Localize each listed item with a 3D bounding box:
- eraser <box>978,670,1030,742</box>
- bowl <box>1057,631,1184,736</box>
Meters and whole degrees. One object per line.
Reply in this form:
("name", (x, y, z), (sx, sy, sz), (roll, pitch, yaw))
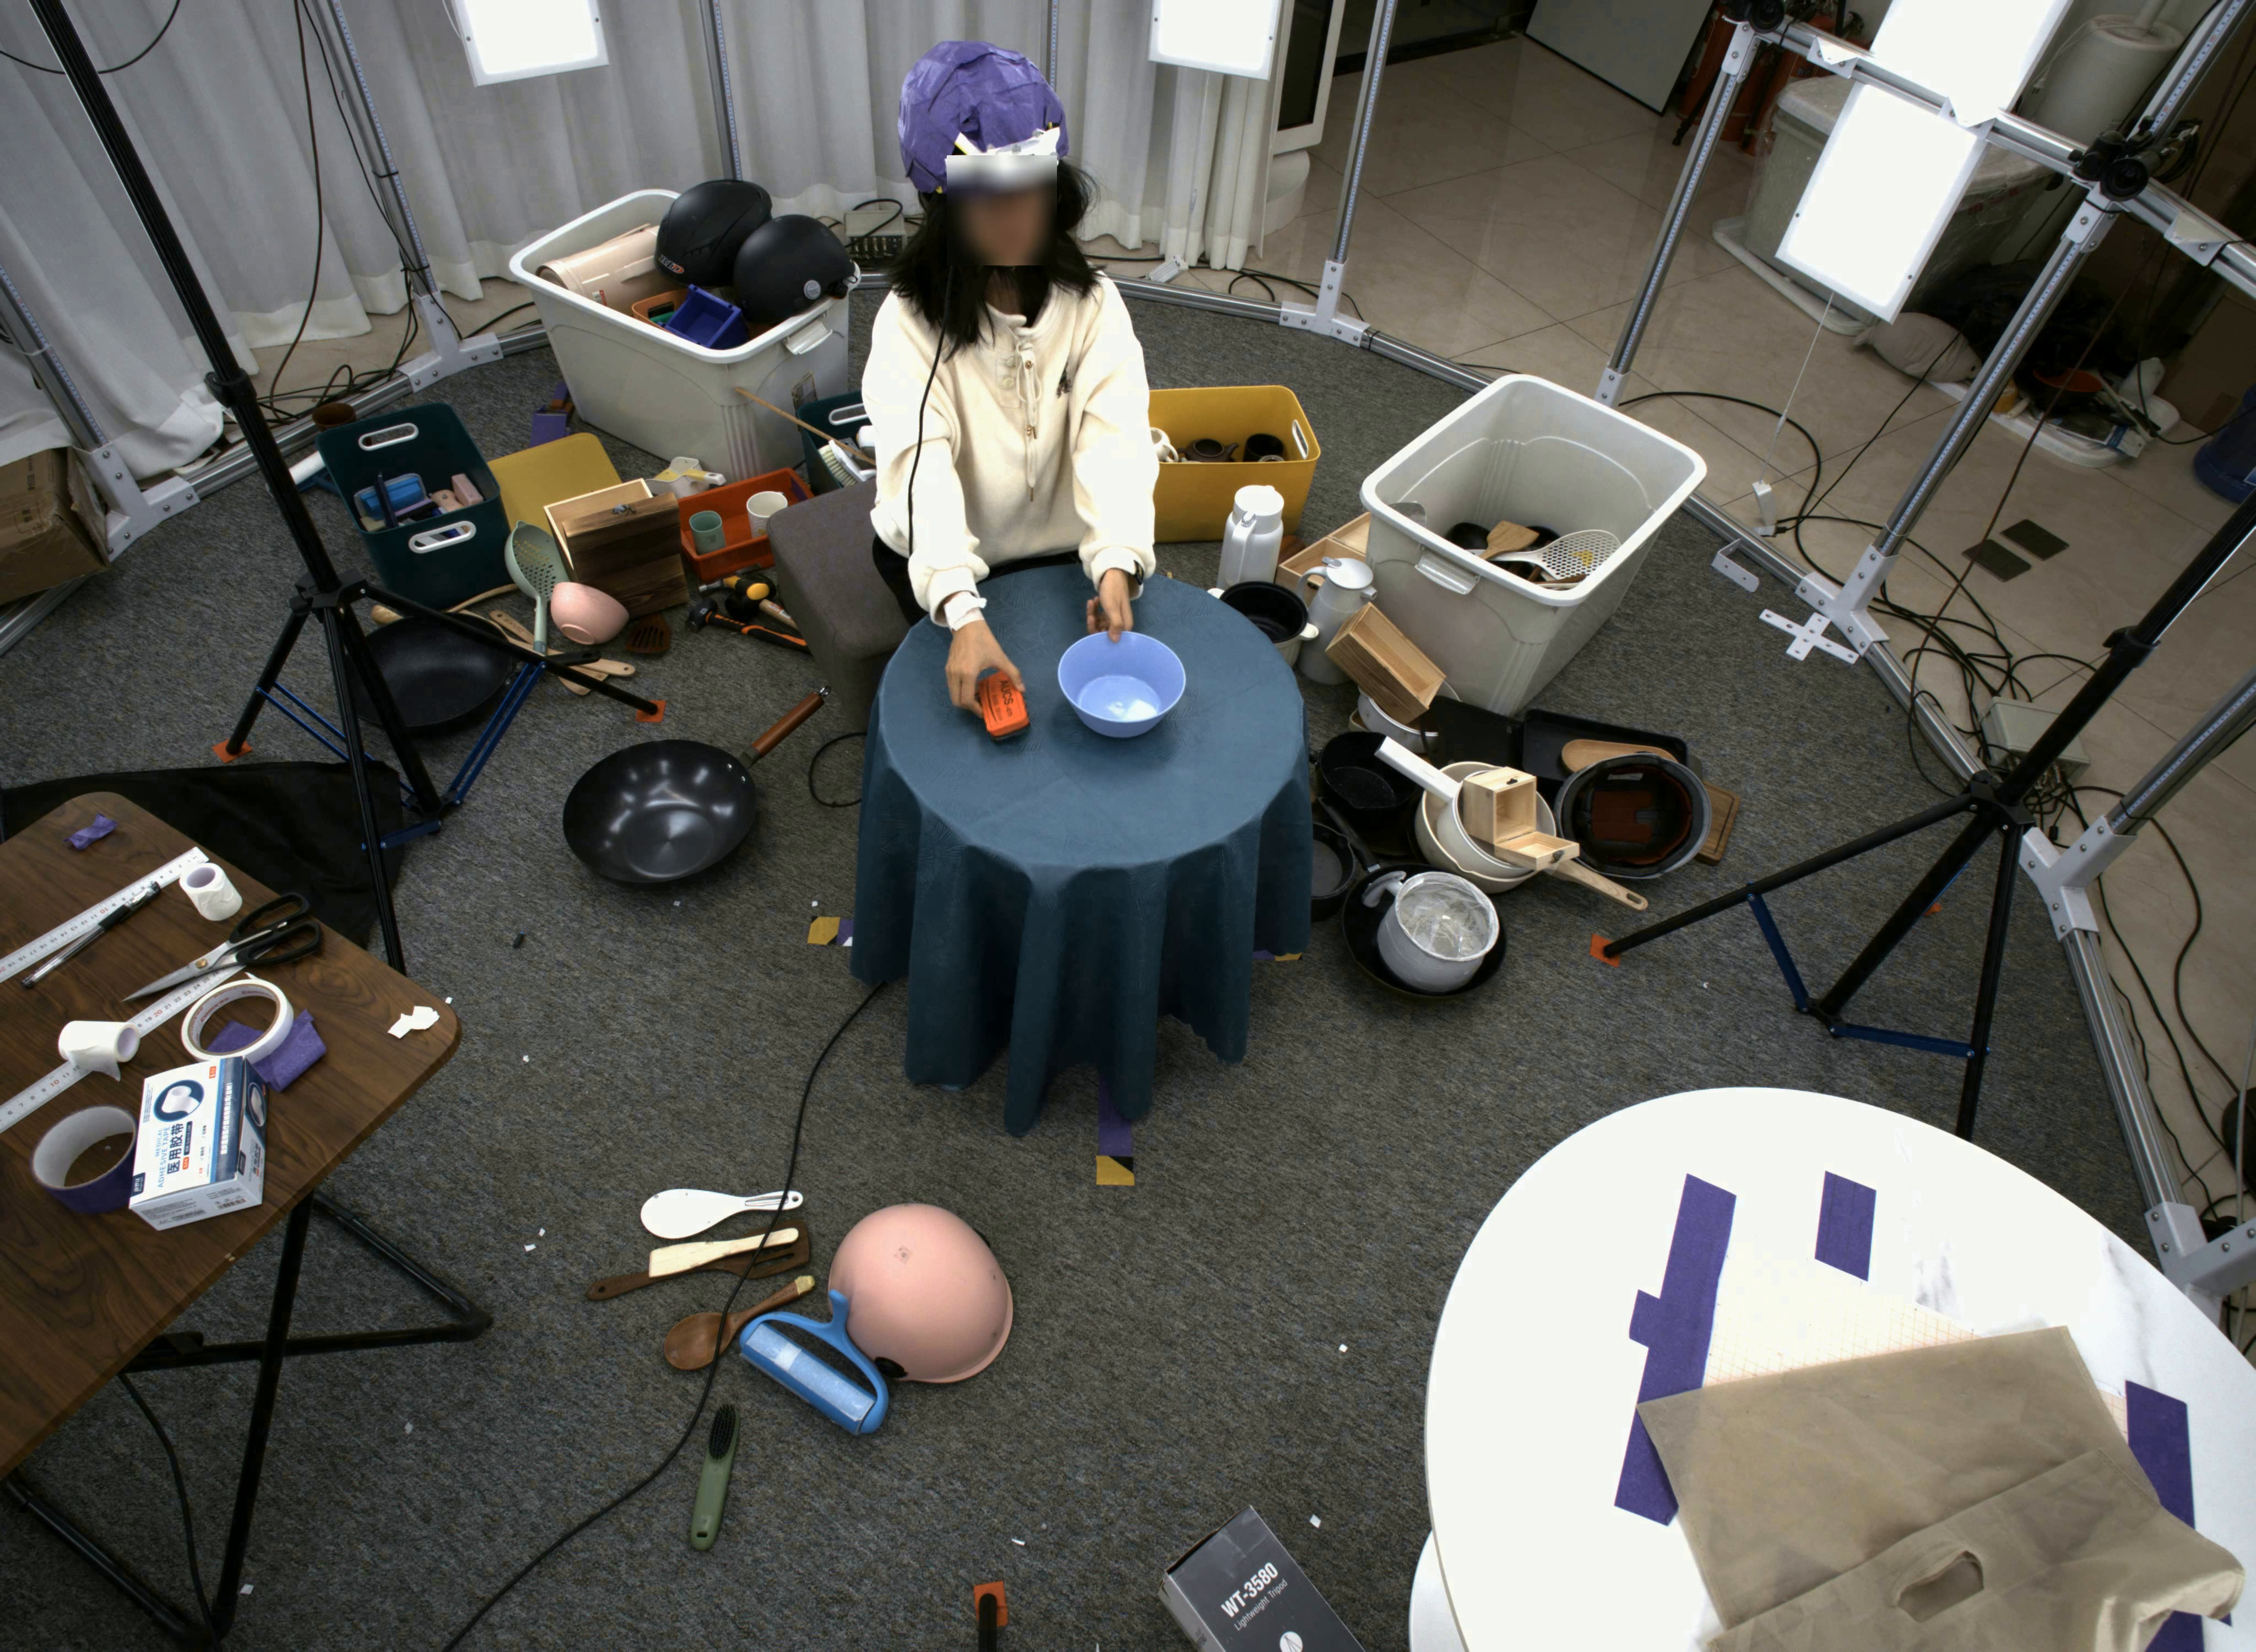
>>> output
("eraser", (-0.172, -0.167, 1.774), (0.059, 0.022, 0.111), (-19, 49, 3))
("bowl", (-0.013, -0.189, 1.786), (0.176, 0.068, 0.180), (2, 50, -3))
